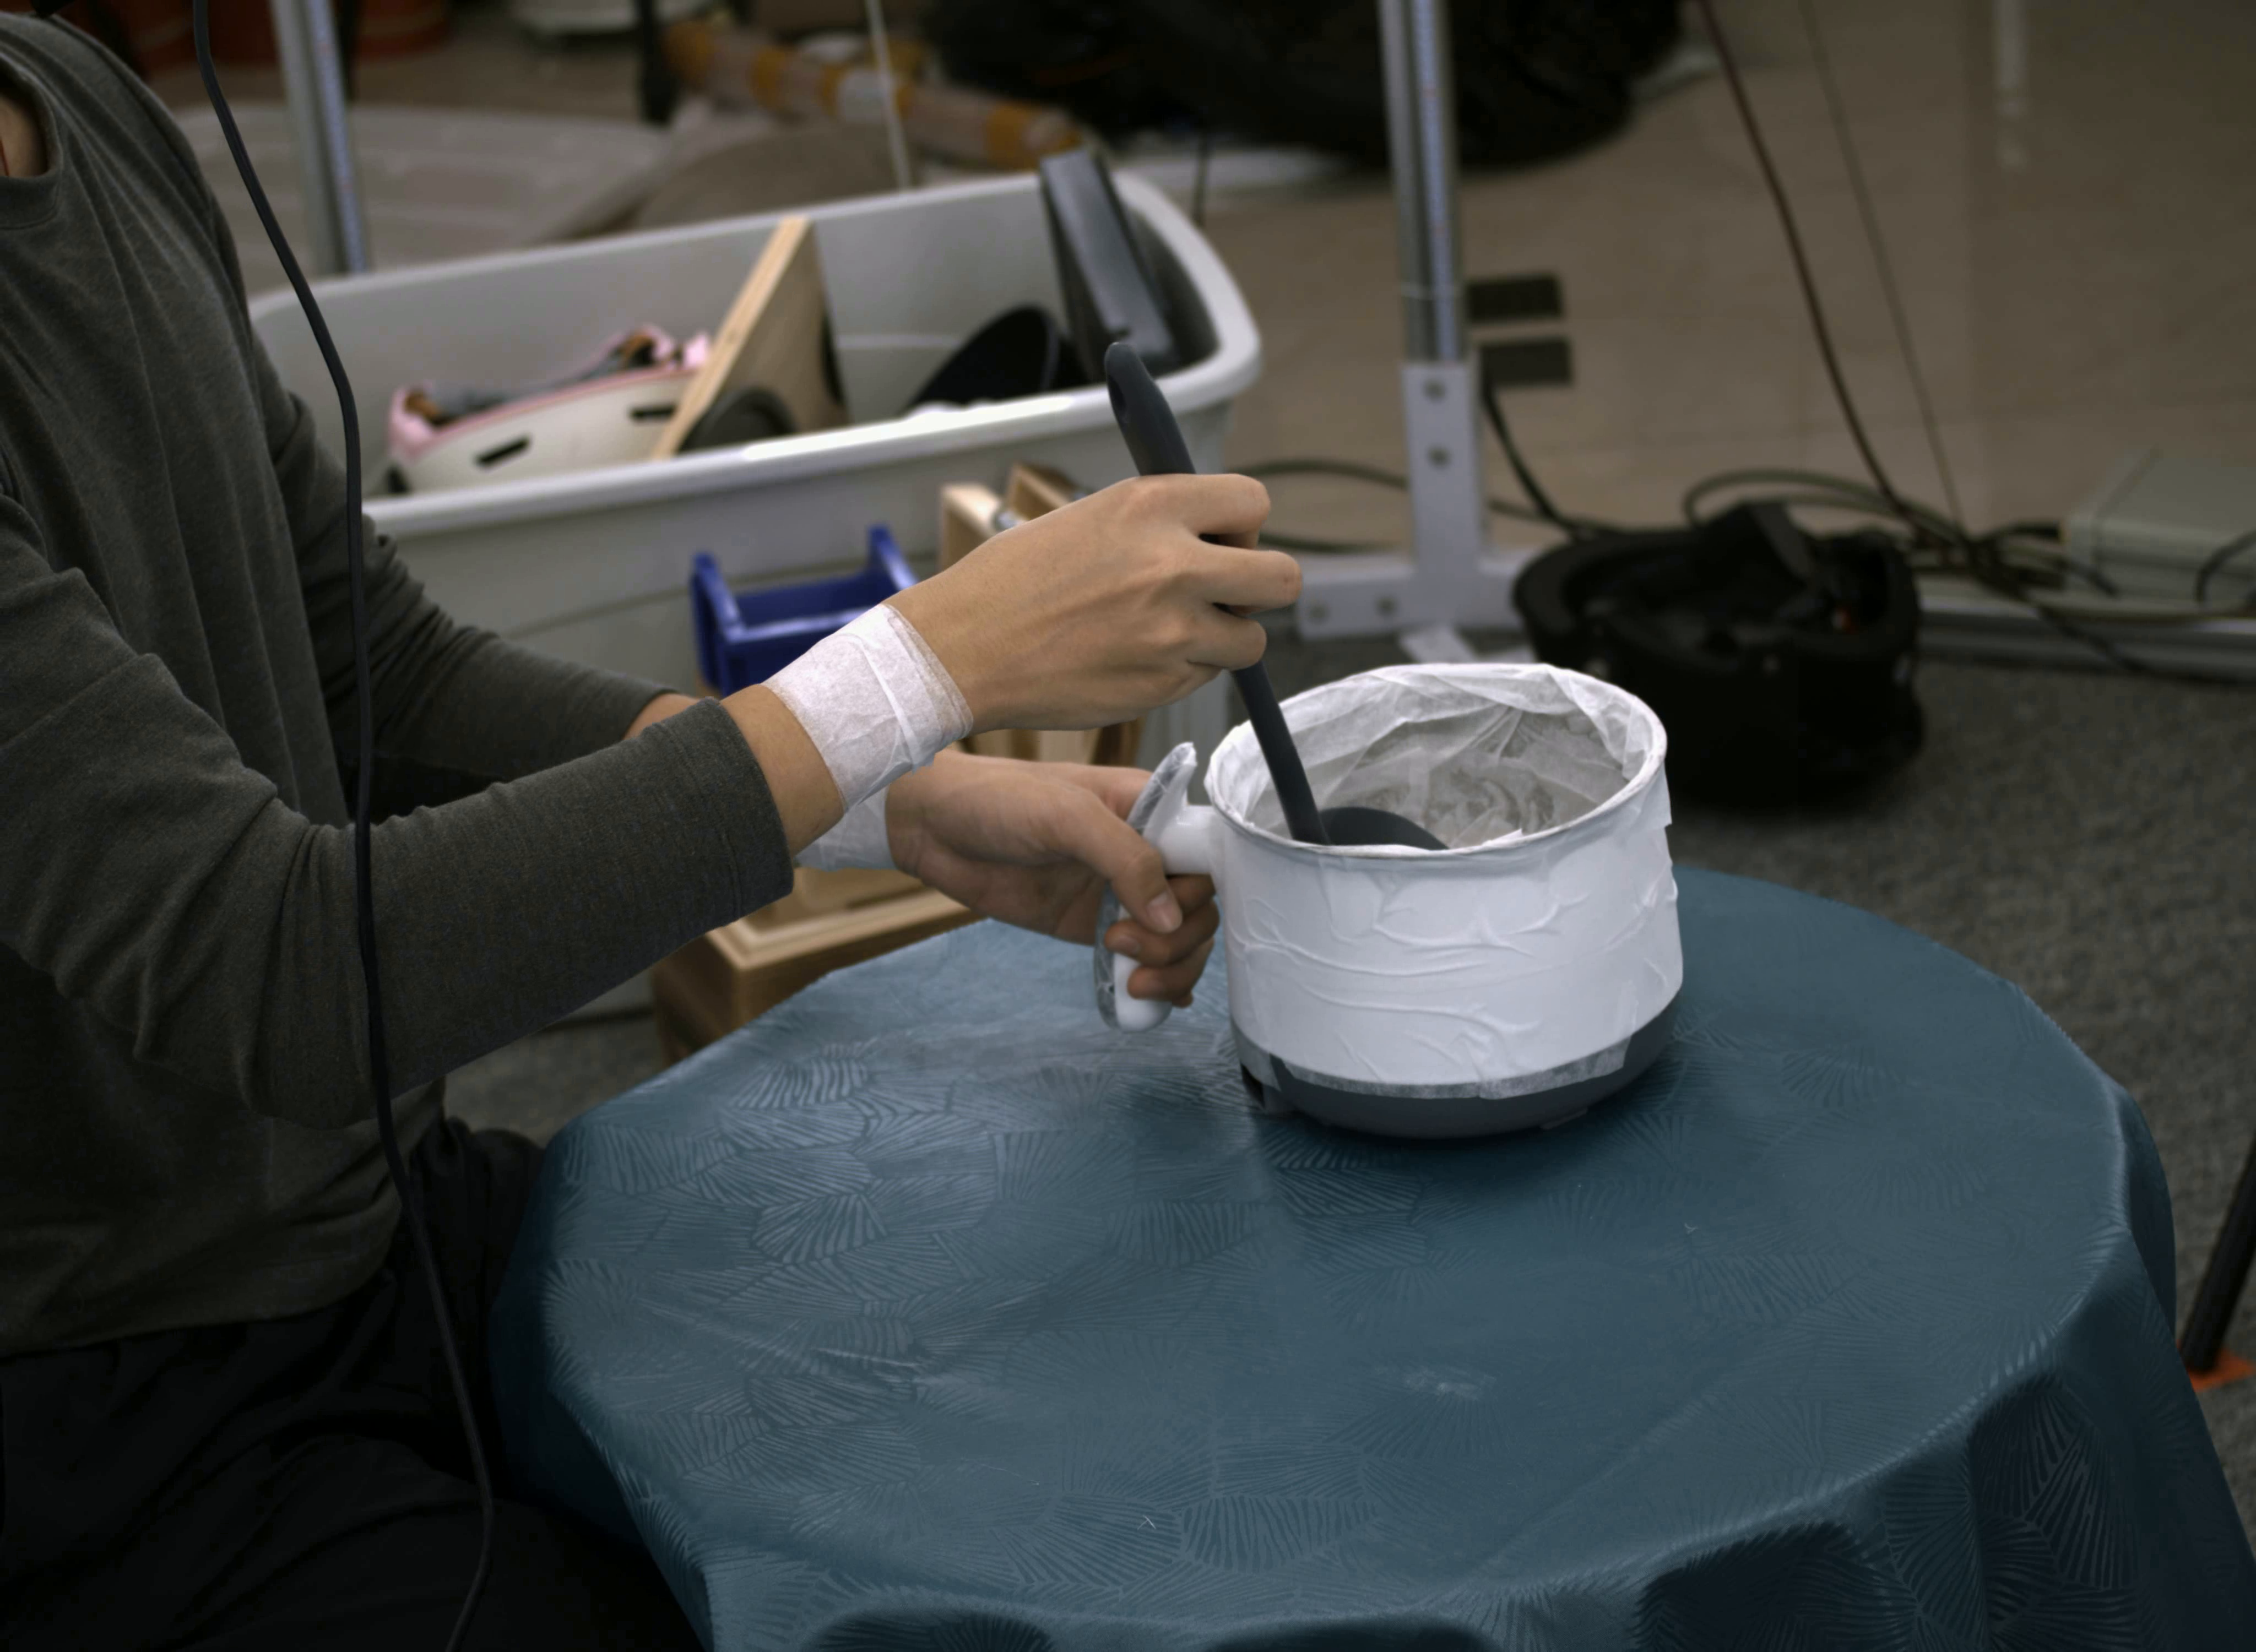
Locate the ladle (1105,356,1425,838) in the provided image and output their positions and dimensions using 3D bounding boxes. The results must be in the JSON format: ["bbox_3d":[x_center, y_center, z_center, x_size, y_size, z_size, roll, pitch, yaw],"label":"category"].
[{"bbox_3d":[0.061,-0.068,2.076,0.063,0.320,0.085,-39,44,-16],"label":"ladle"}]

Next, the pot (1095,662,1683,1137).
[{"bbox_3d":[0.098,0.030,2.196,0.233,0.139,0.176,0,26,14],"label":"pot"}]
